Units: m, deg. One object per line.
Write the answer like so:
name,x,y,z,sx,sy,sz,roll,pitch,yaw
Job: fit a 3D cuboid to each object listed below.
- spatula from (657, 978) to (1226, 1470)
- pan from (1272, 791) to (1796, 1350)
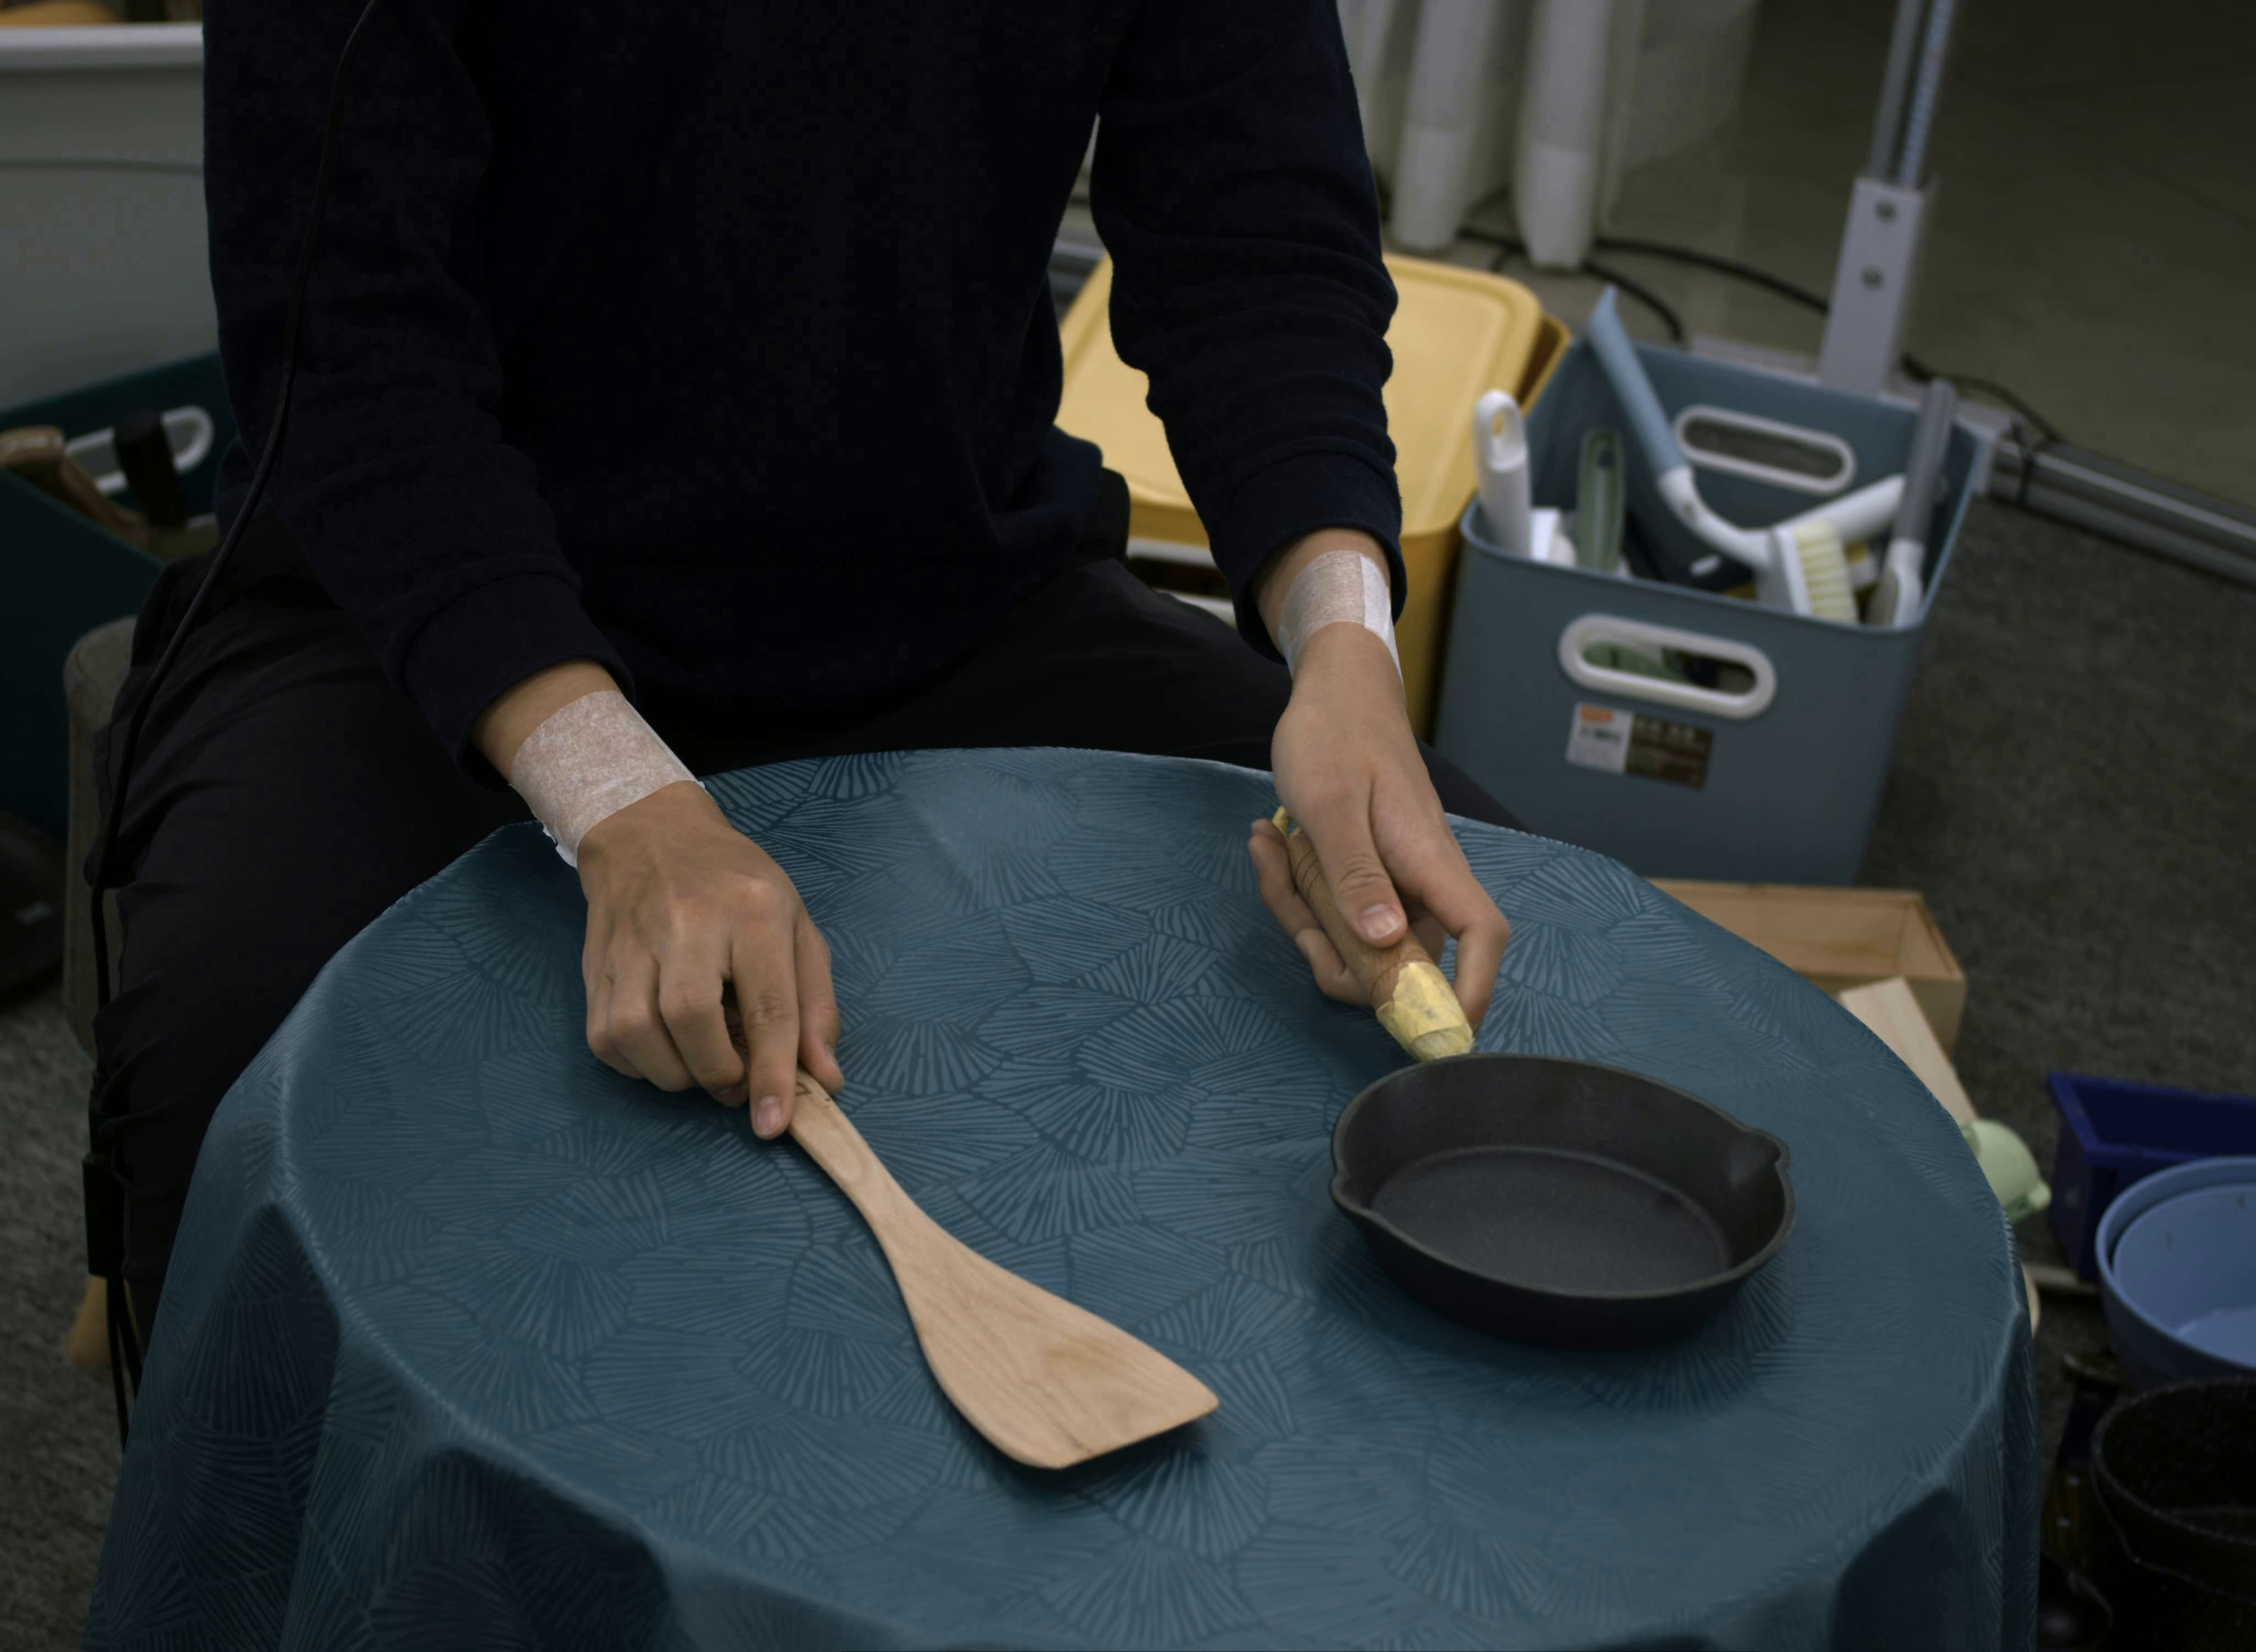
spatula,-0.076,0.125,1.764,0.079,0.016,0.330,-8,31,-30
pan,0.117,0.082,1.855,0.168,0.049,0.327,-4,30,-20
